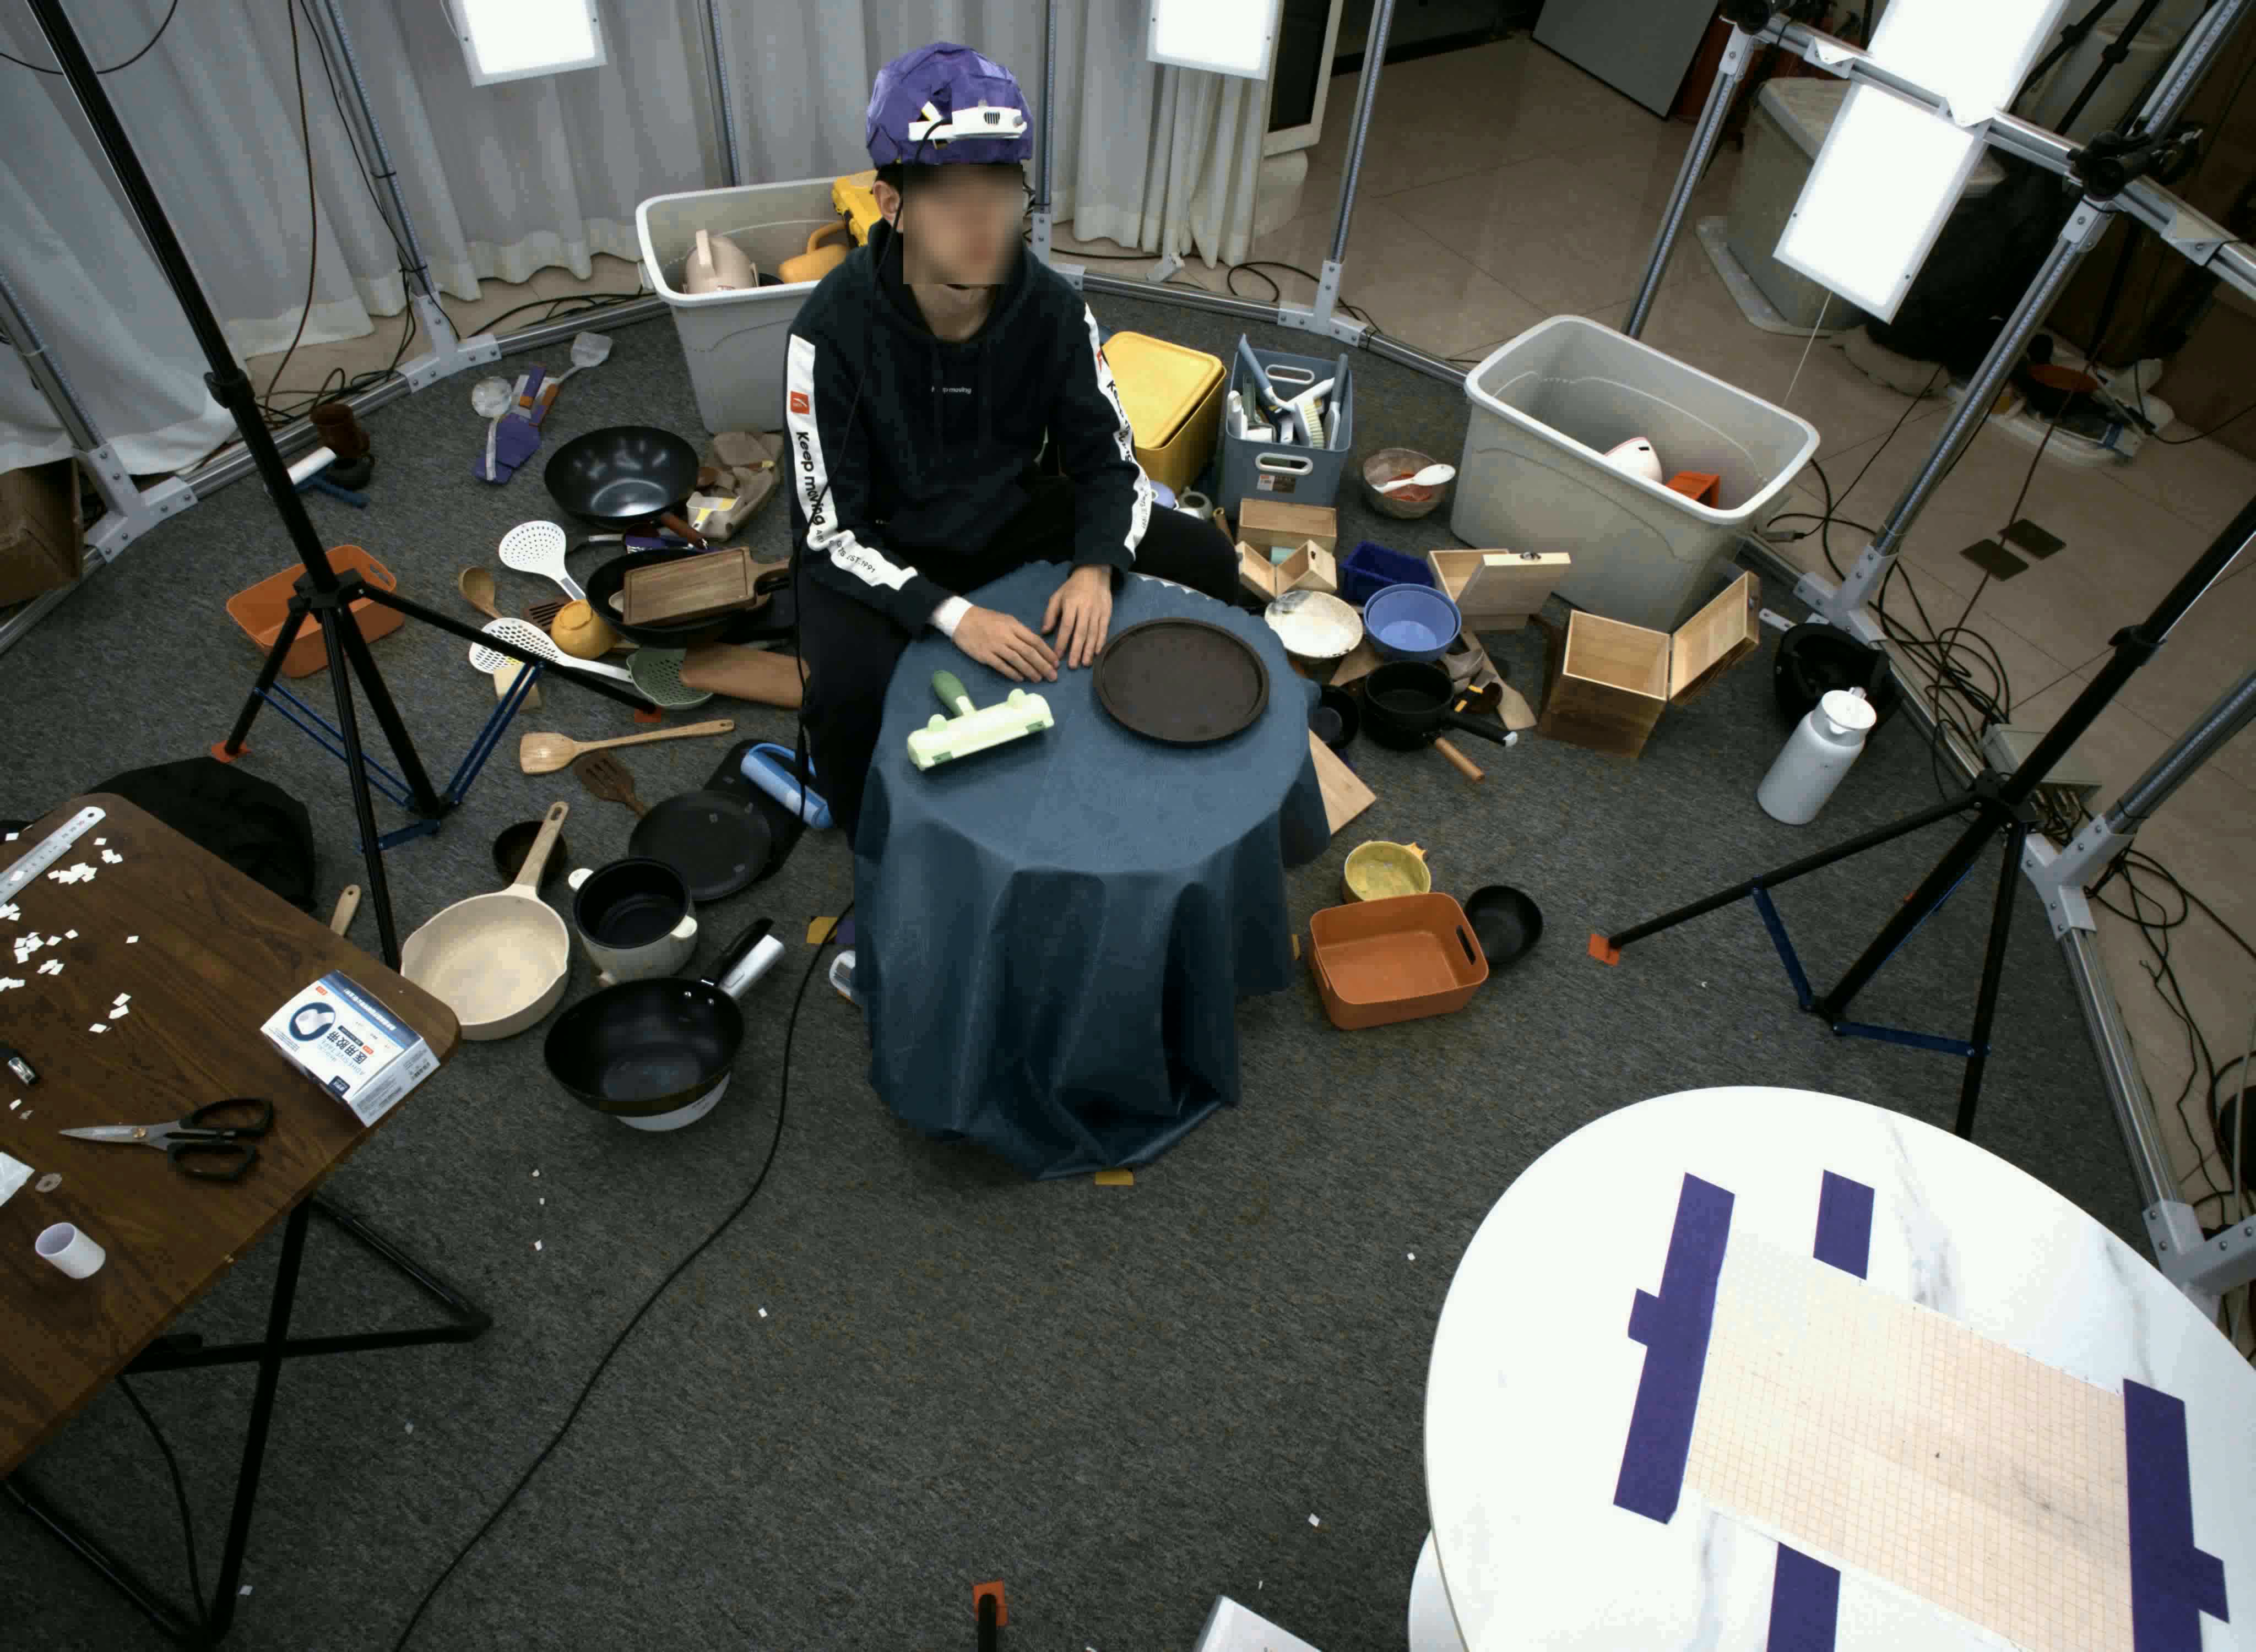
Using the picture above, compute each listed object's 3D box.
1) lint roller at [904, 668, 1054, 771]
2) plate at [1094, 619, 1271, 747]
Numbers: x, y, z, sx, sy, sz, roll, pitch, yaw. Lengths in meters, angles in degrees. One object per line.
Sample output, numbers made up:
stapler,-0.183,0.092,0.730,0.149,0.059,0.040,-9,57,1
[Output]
lint roller,-0.225,-0.172,1.751,0.199,0.080,0.187,-20,57,-20
plate,0.077,-0.206,1.836,0.254,0.028,0.261,1,50,-2
